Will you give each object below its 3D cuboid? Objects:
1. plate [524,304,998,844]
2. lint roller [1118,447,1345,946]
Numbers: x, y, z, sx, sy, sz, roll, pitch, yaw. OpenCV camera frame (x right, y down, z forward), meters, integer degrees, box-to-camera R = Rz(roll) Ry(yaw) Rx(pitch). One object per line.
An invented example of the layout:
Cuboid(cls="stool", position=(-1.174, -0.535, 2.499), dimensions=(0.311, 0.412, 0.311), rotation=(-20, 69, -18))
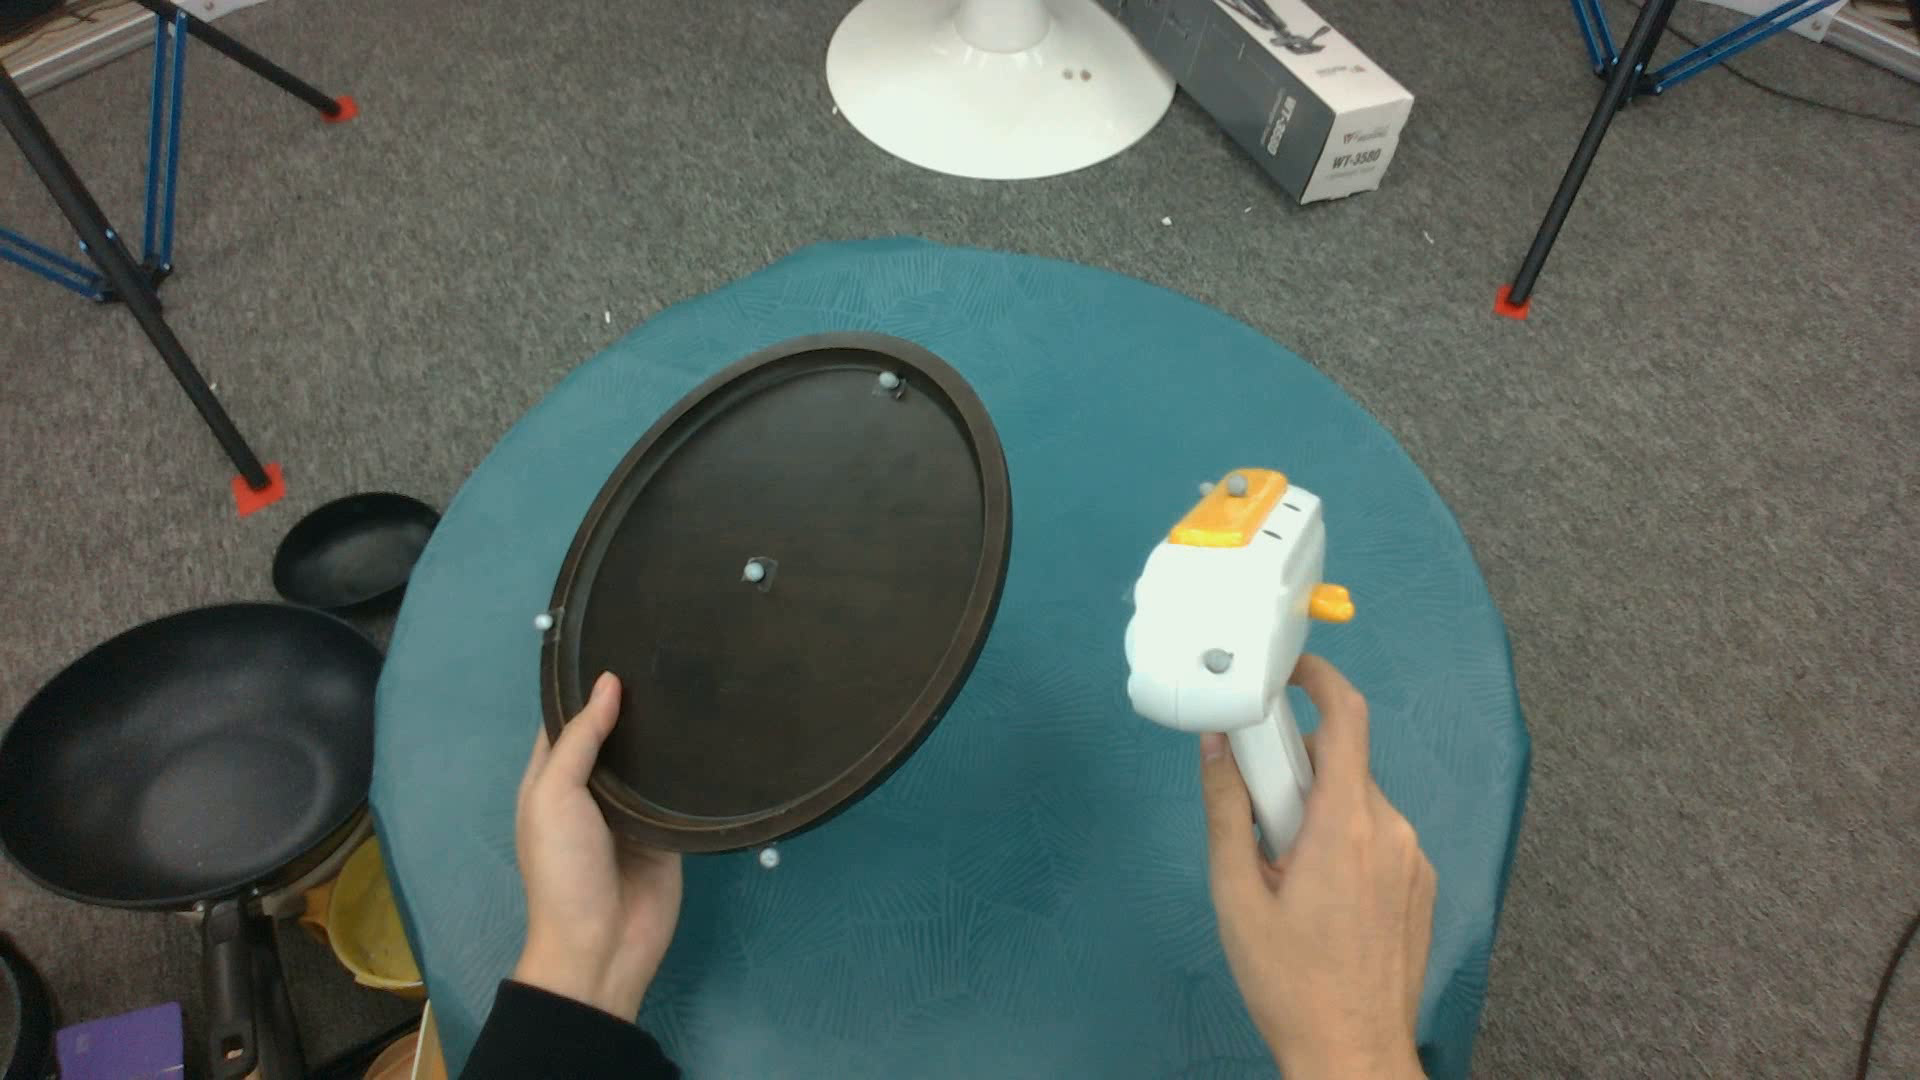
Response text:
Cuboid(cls="plate", position=(-0.093, 0.010, 0.616), dimensions=(0.254, 0.029, 0.256), rotation=(-14, 60, 26))
Cuboid(cls="lint roller", position=(0.115, 0.070, 0.542), dimensions=(0.074, 0.192, 0.193), rotation=(-4, 14, 15))
